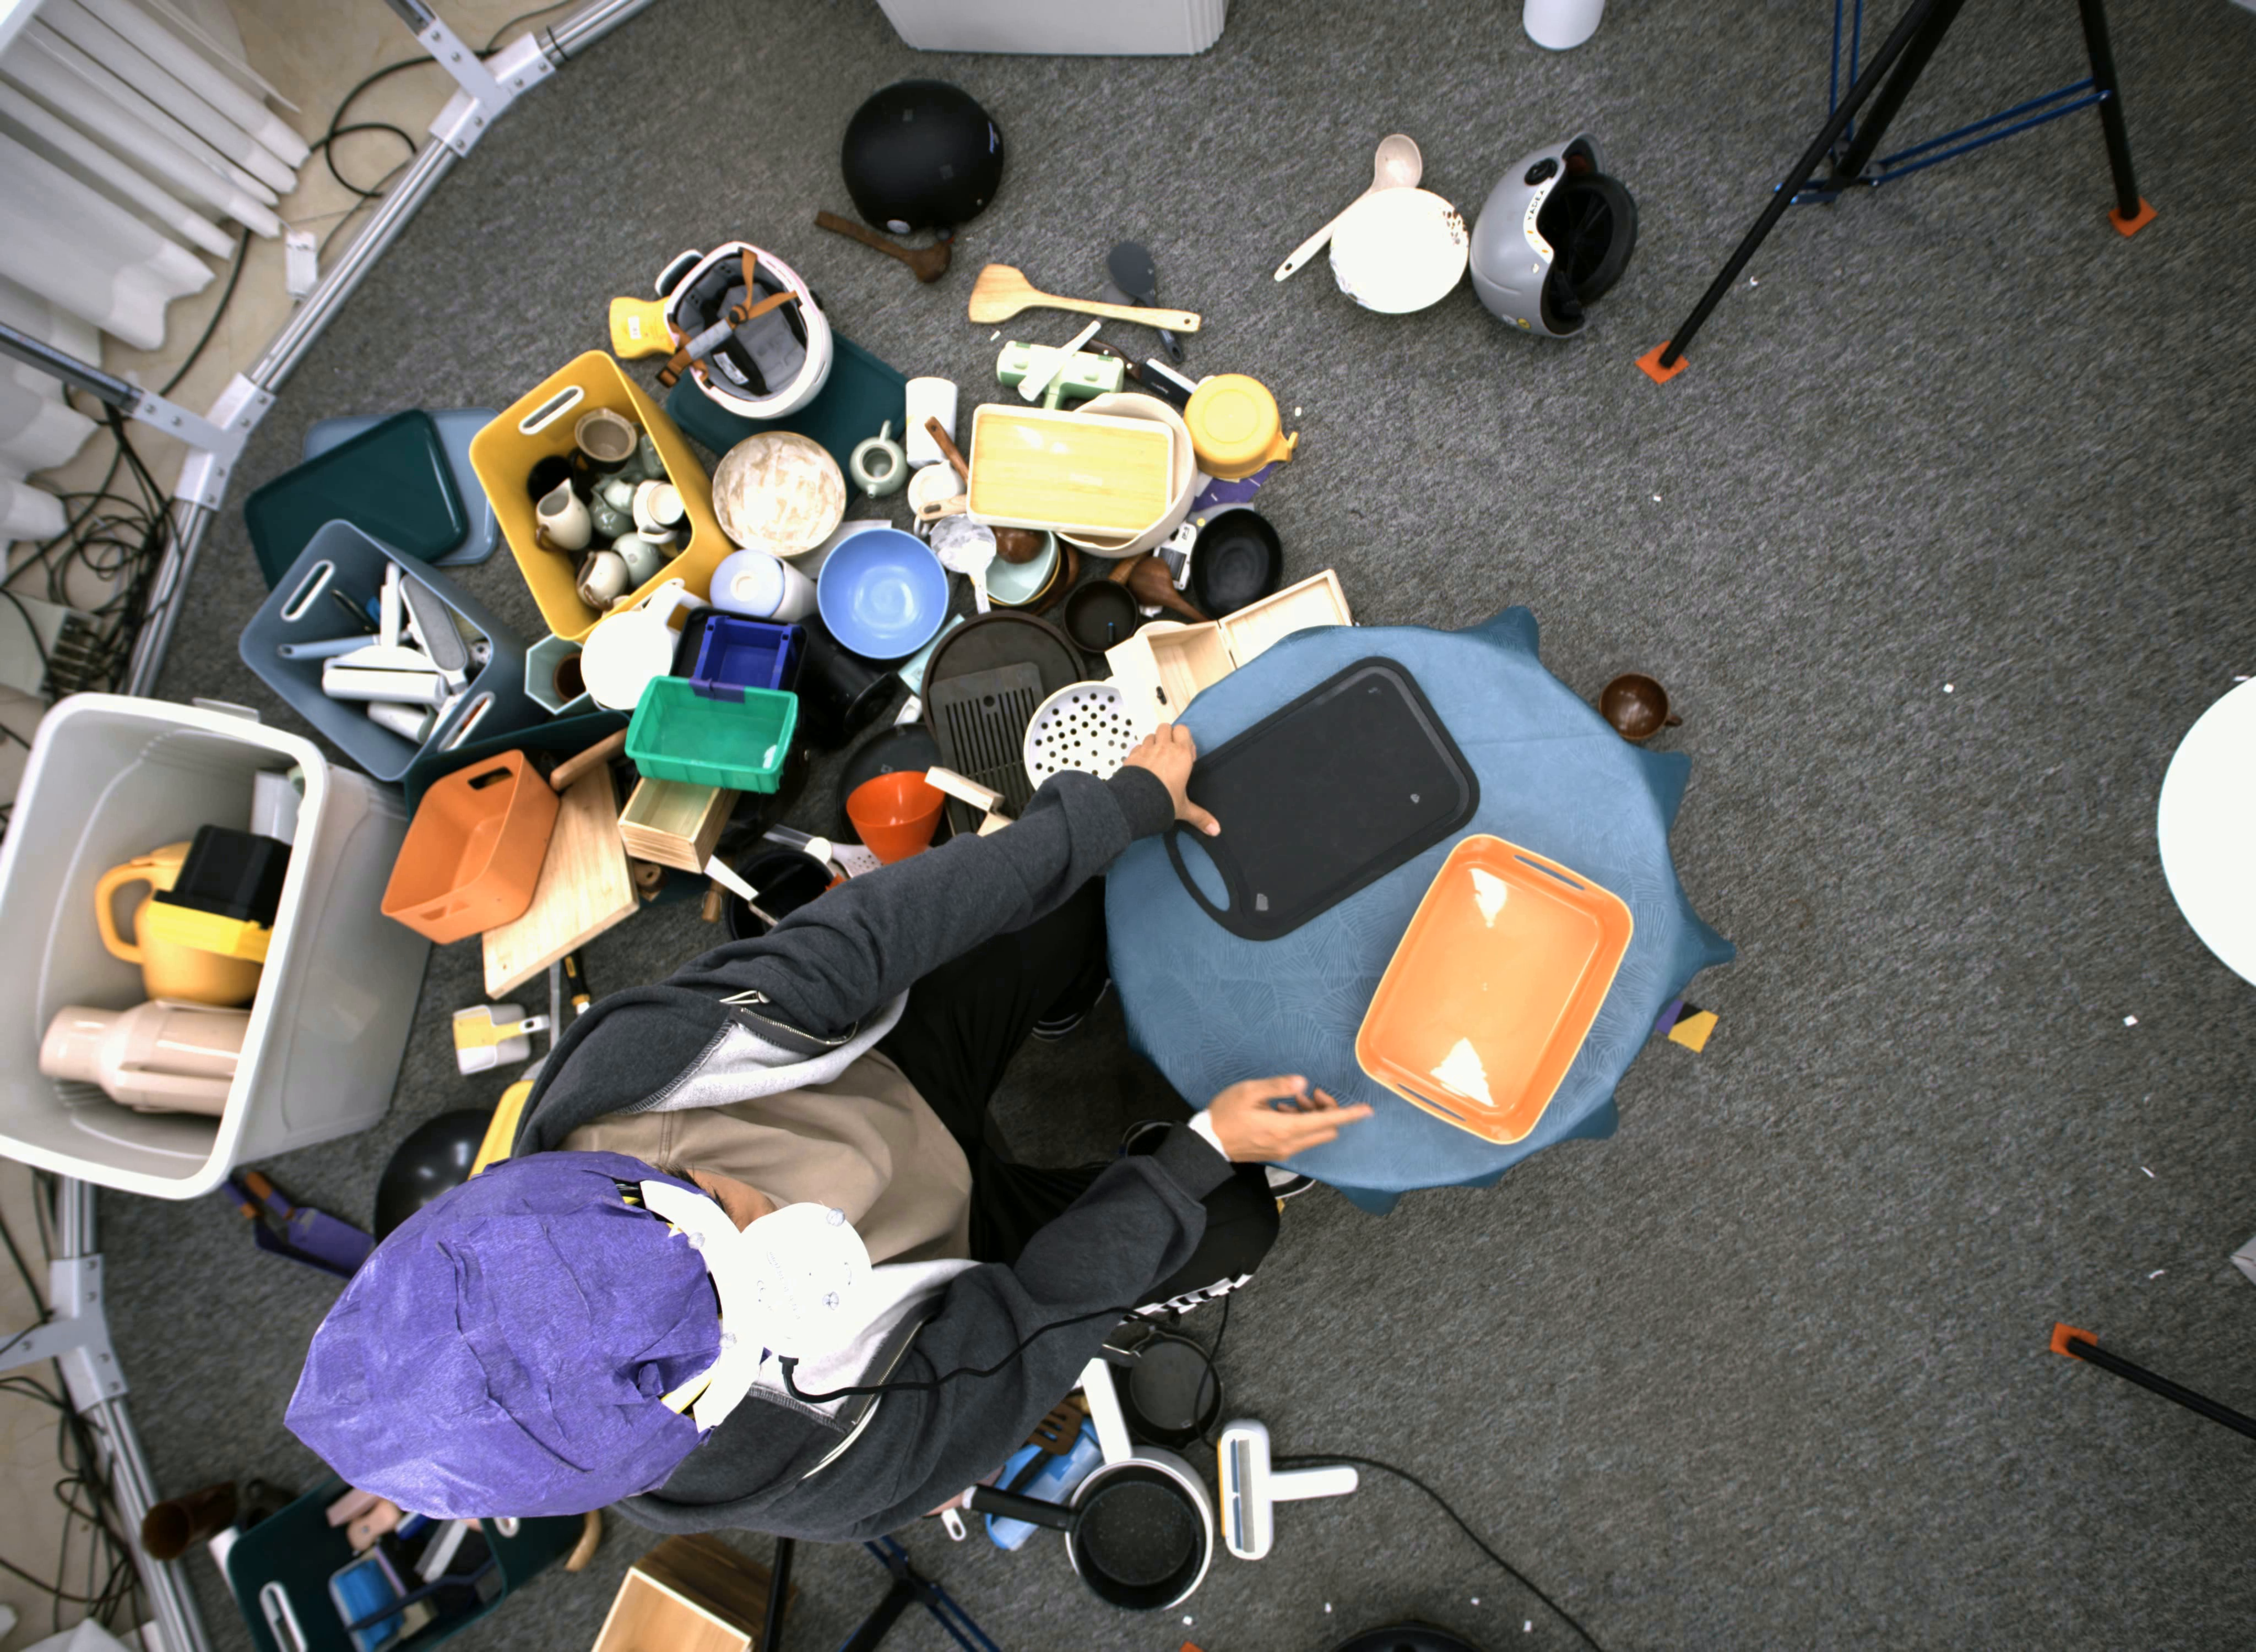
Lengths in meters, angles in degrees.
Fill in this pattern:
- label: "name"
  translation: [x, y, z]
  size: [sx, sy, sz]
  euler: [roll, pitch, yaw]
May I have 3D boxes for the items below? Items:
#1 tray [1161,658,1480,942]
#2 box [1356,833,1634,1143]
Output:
- label: "tray"
  translation: [0.197, -0.024, 1.470]
  size: [0.327, 0.010, 0.210]
  euler: [-32, 85, 7]
- label: "box"
  translation: [0.361, 0.158, 1.385]
  size: [0.199, 0.102, 0.273]
  euler: [27, 91, 11]
